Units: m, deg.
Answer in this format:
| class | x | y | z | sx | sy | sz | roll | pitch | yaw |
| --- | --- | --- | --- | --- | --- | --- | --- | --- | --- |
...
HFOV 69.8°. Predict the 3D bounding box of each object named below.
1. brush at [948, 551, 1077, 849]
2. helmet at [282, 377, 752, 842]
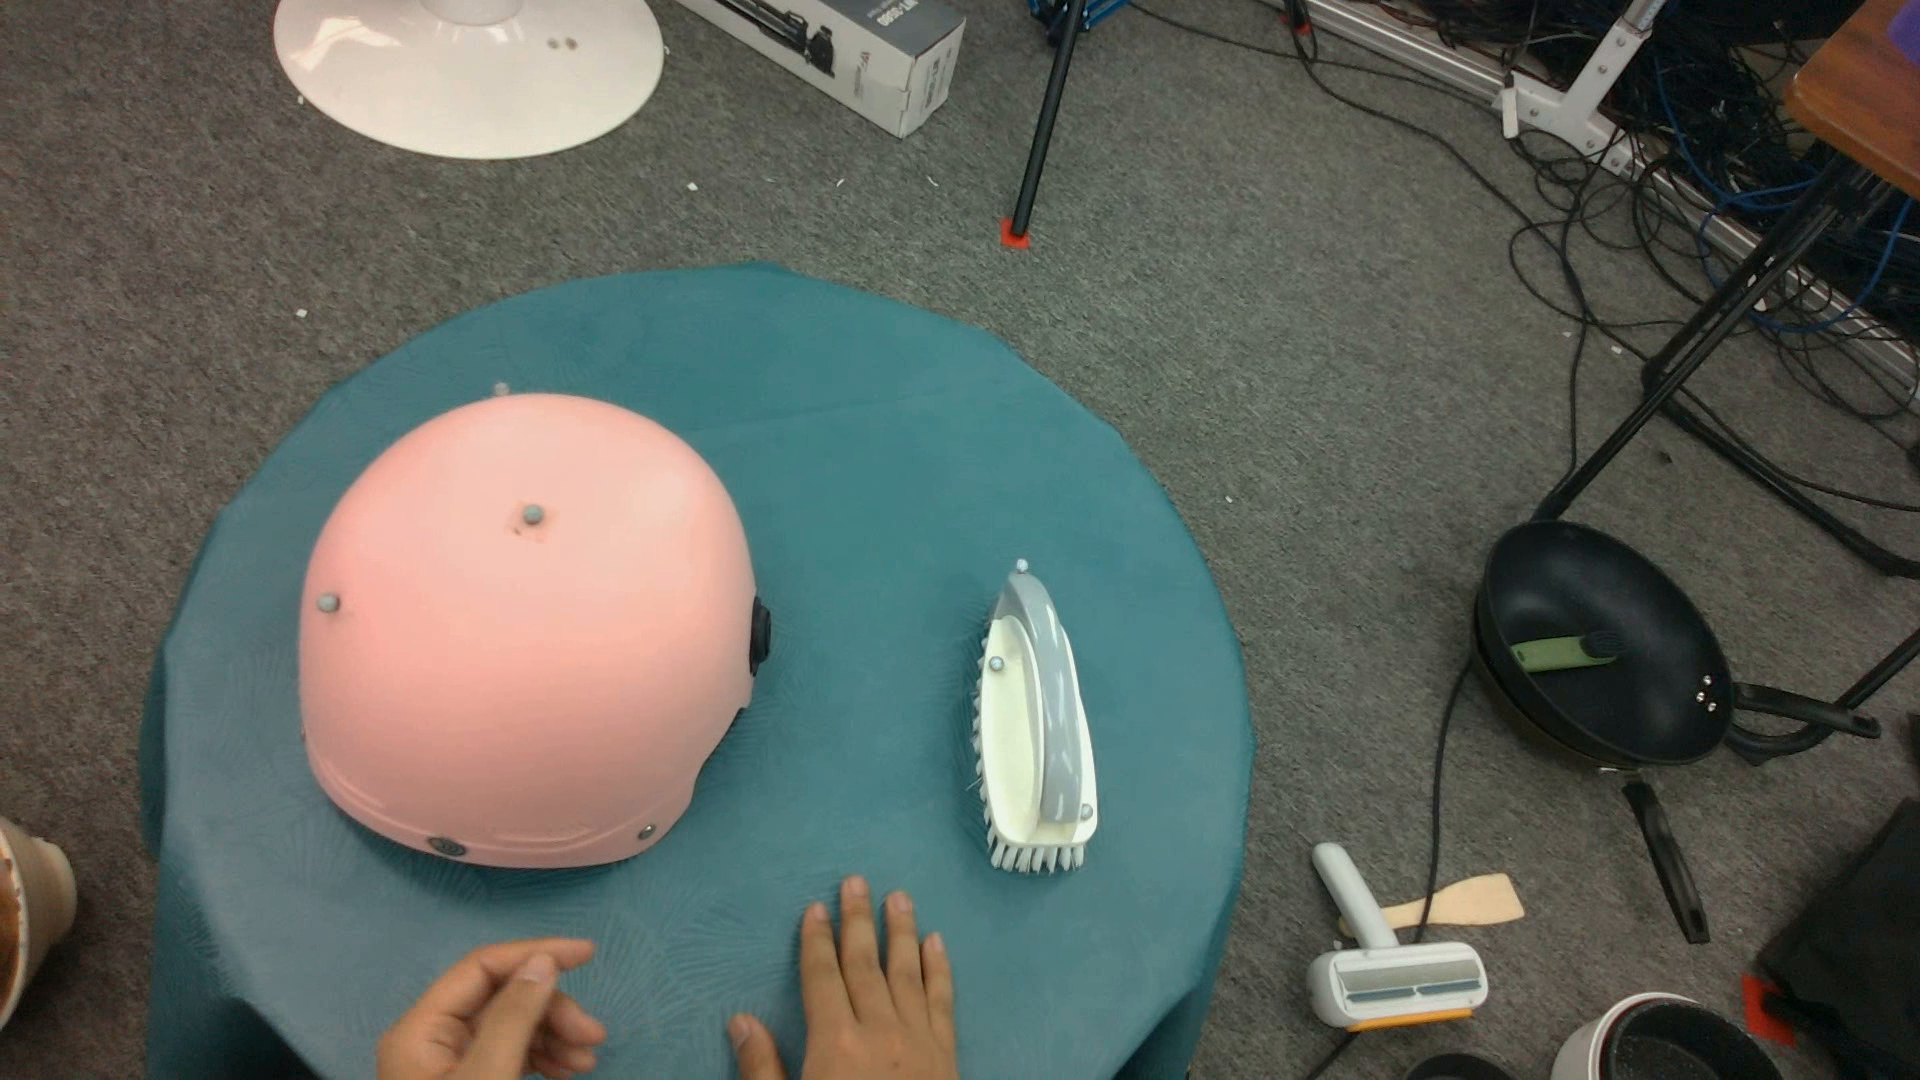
| class | x | y | z | sx | sy | sz | roll | pitch | yaw |
| --- | --- | --- | --- | --- | --- | --- | --- | --- | --- |
| brush | 0.029 | 0.072 | 0.756 | 0.061 | 0.094 | 0.176 | 3 | 53 | -14 |
| helmet | -0.219 | 0.008 | 0.694 | 0.234 | 0.158 | 0.267 | 15 | 50 | -4 |
